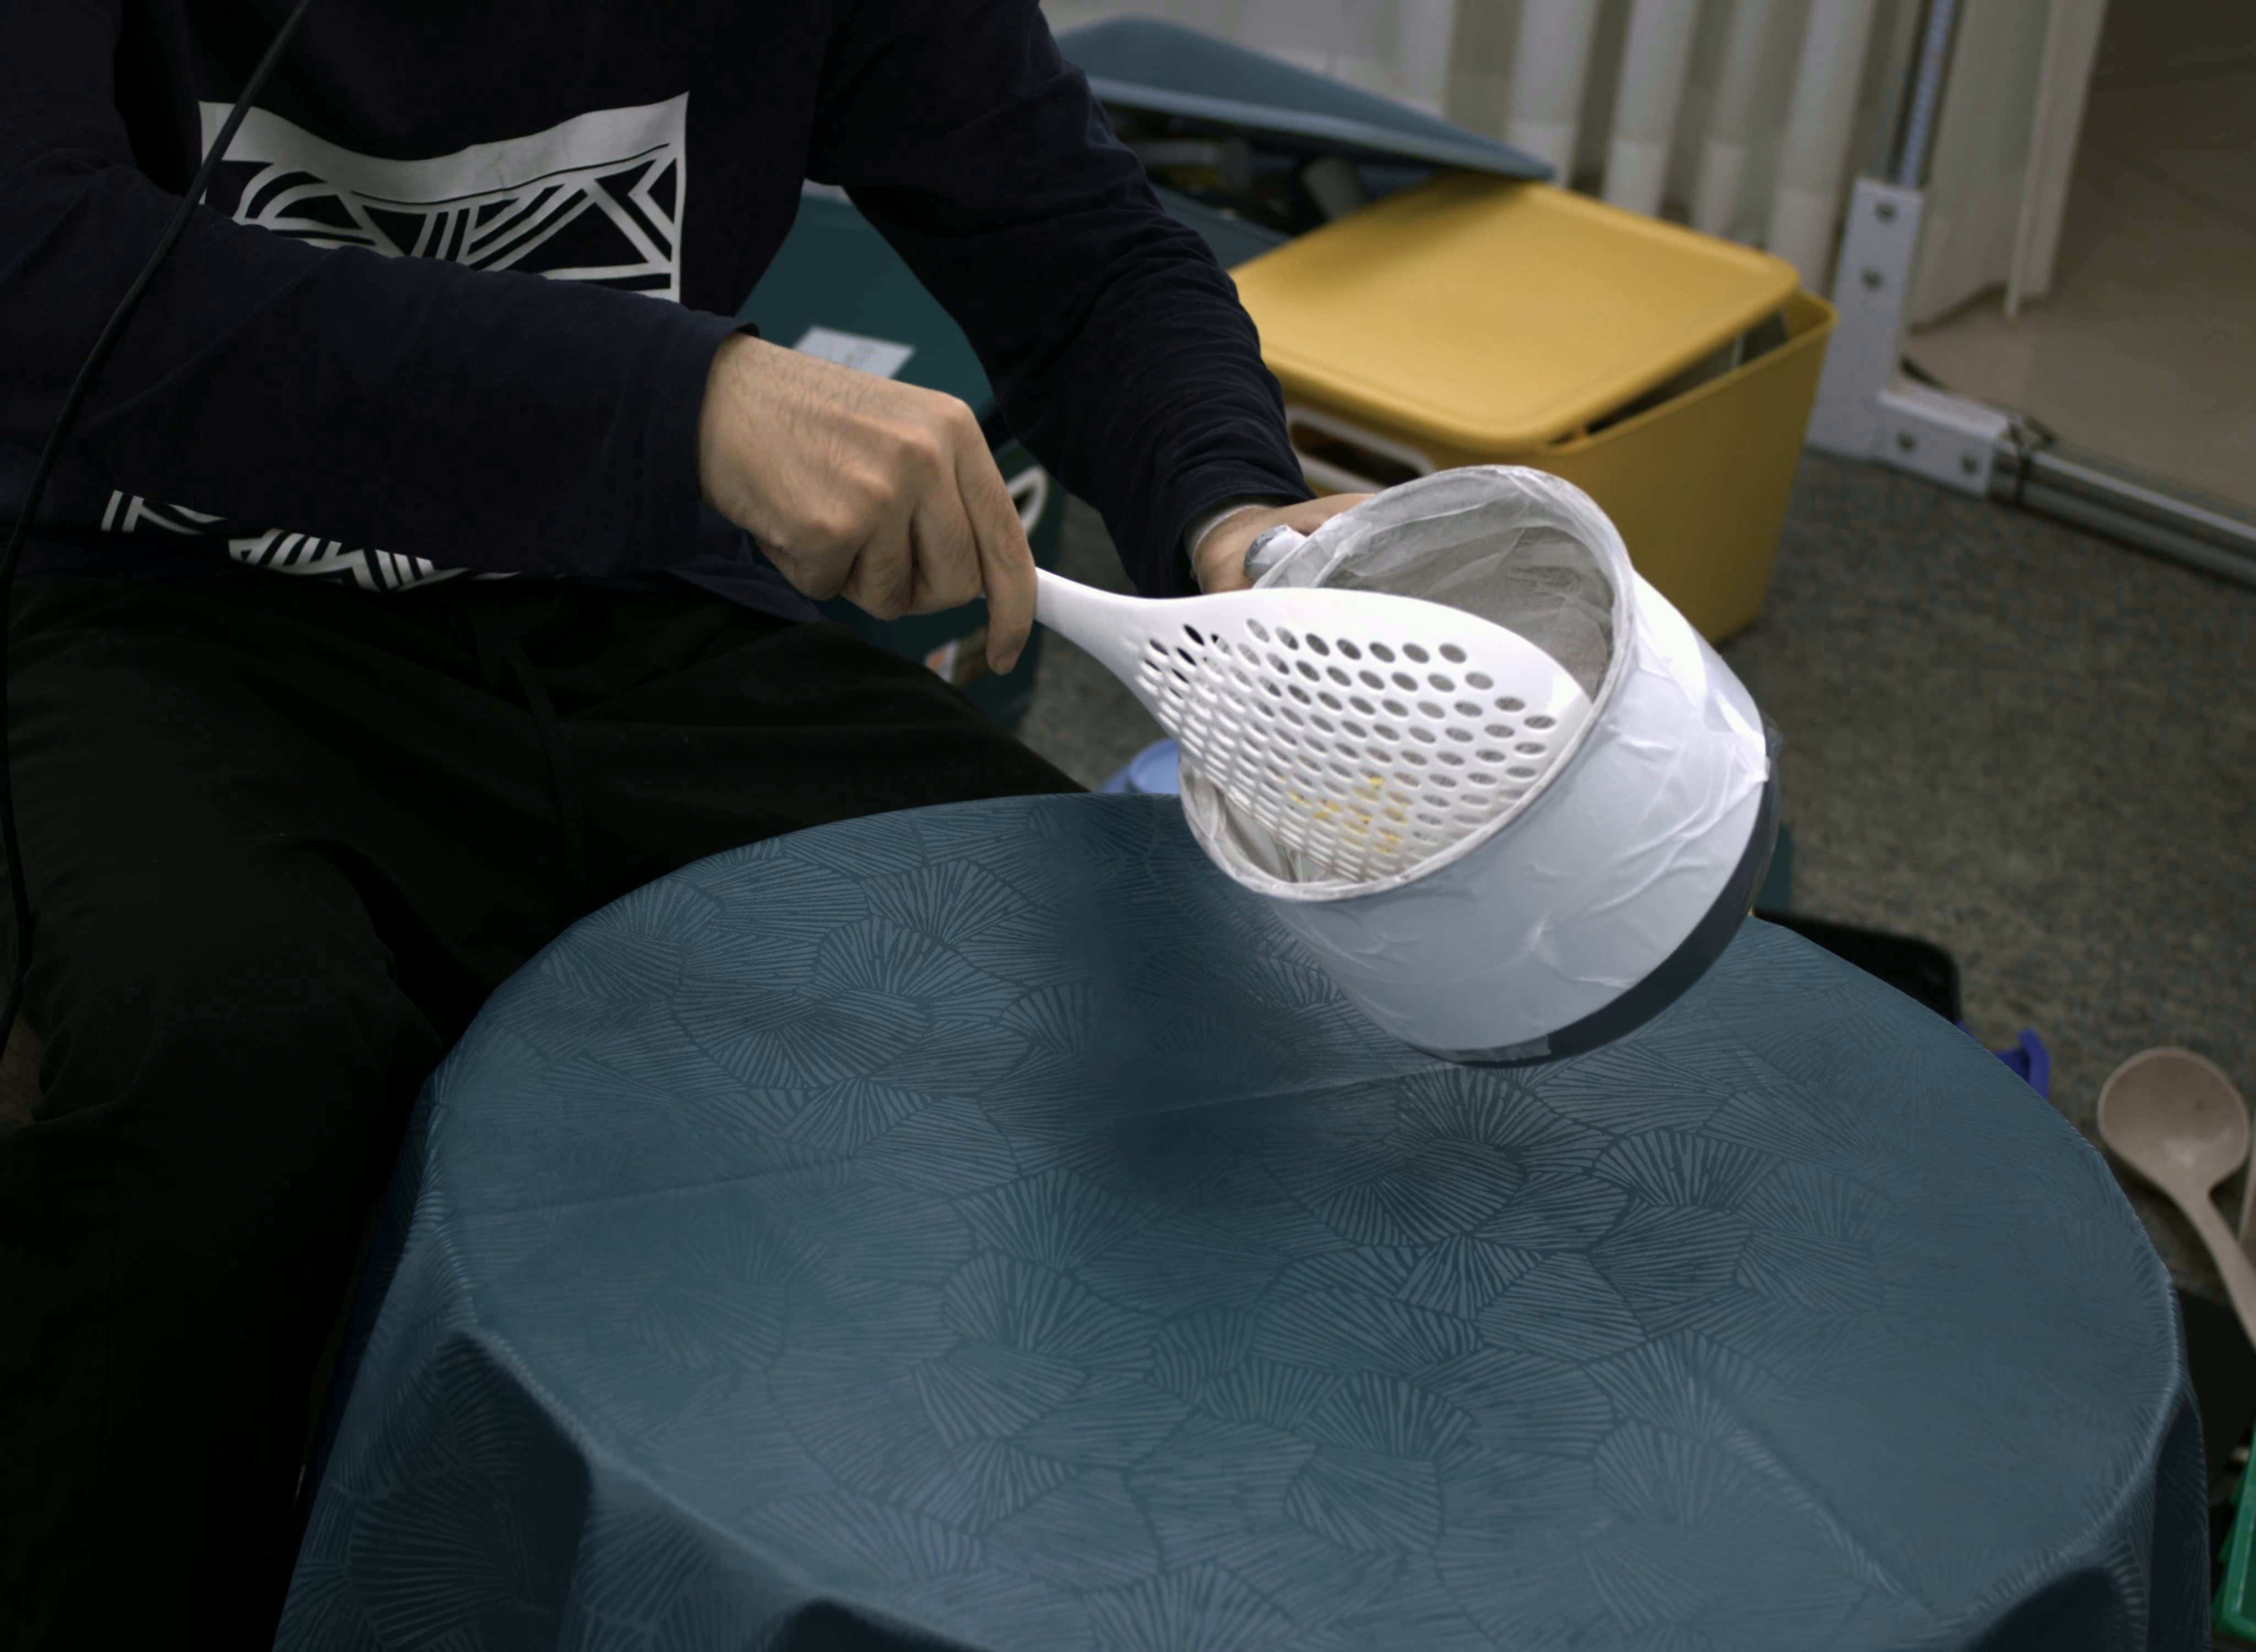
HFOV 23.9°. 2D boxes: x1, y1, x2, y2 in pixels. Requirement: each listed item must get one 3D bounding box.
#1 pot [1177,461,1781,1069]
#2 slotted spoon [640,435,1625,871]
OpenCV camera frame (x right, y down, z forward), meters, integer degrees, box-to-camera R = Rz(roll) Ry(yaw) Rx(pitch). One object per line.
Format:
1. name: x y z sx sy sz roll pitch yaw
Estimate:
1. pot: 0.112 -0.029 1.847 0.178 0.135 0.236 -43 40 -2
2. slotted spoon: -0.002 -0.063 1.791 0.348 0.136 0.050 25 47 10
